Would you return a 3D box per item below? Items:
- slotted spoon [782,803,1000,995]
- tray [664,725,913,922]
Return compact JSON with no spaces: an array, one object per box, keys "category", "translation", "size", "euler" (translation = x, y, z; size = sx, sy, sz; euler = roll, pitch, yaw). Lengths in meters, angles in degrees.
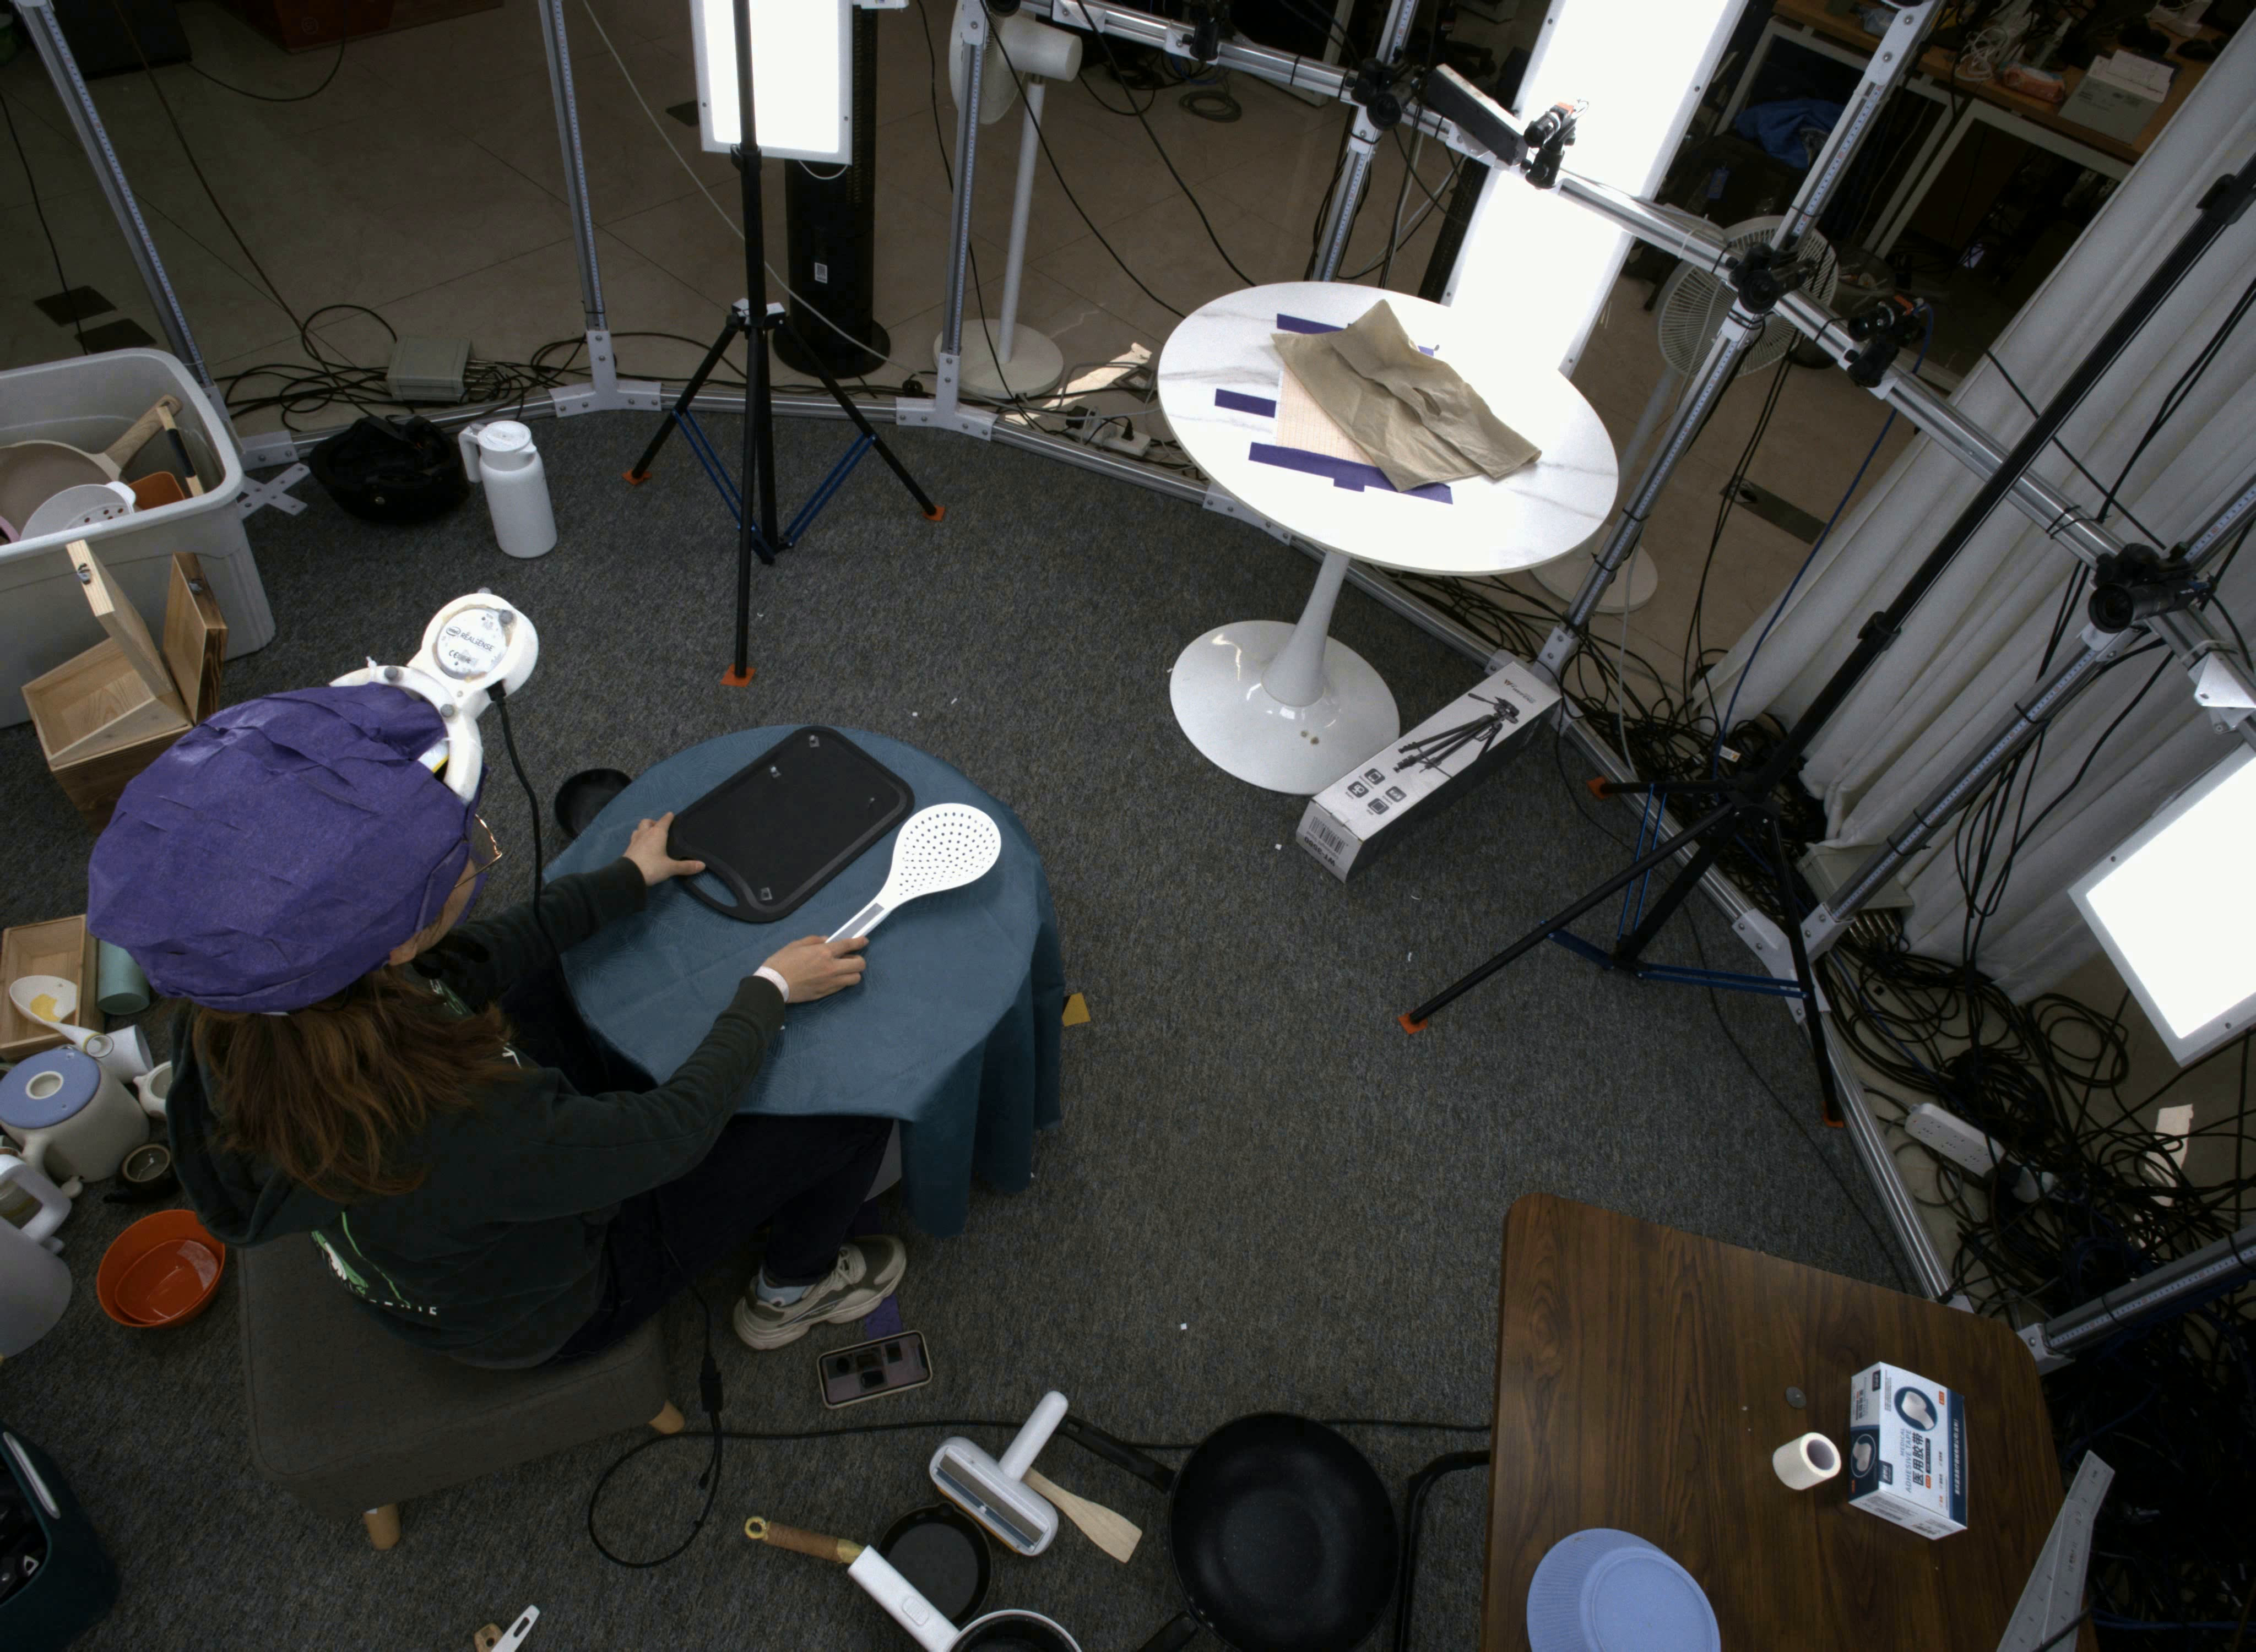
[{"category":"slotted spoon","translation":[-0.304,0.091,1.662],"size":[0.132,0.047,0.350],"euler":[33,53,21]},{"category":"tray","translation":[-0.452,-0.007,1.720],"size":[0.207,0.010,0.325],"euler":[36,53,12]}]
